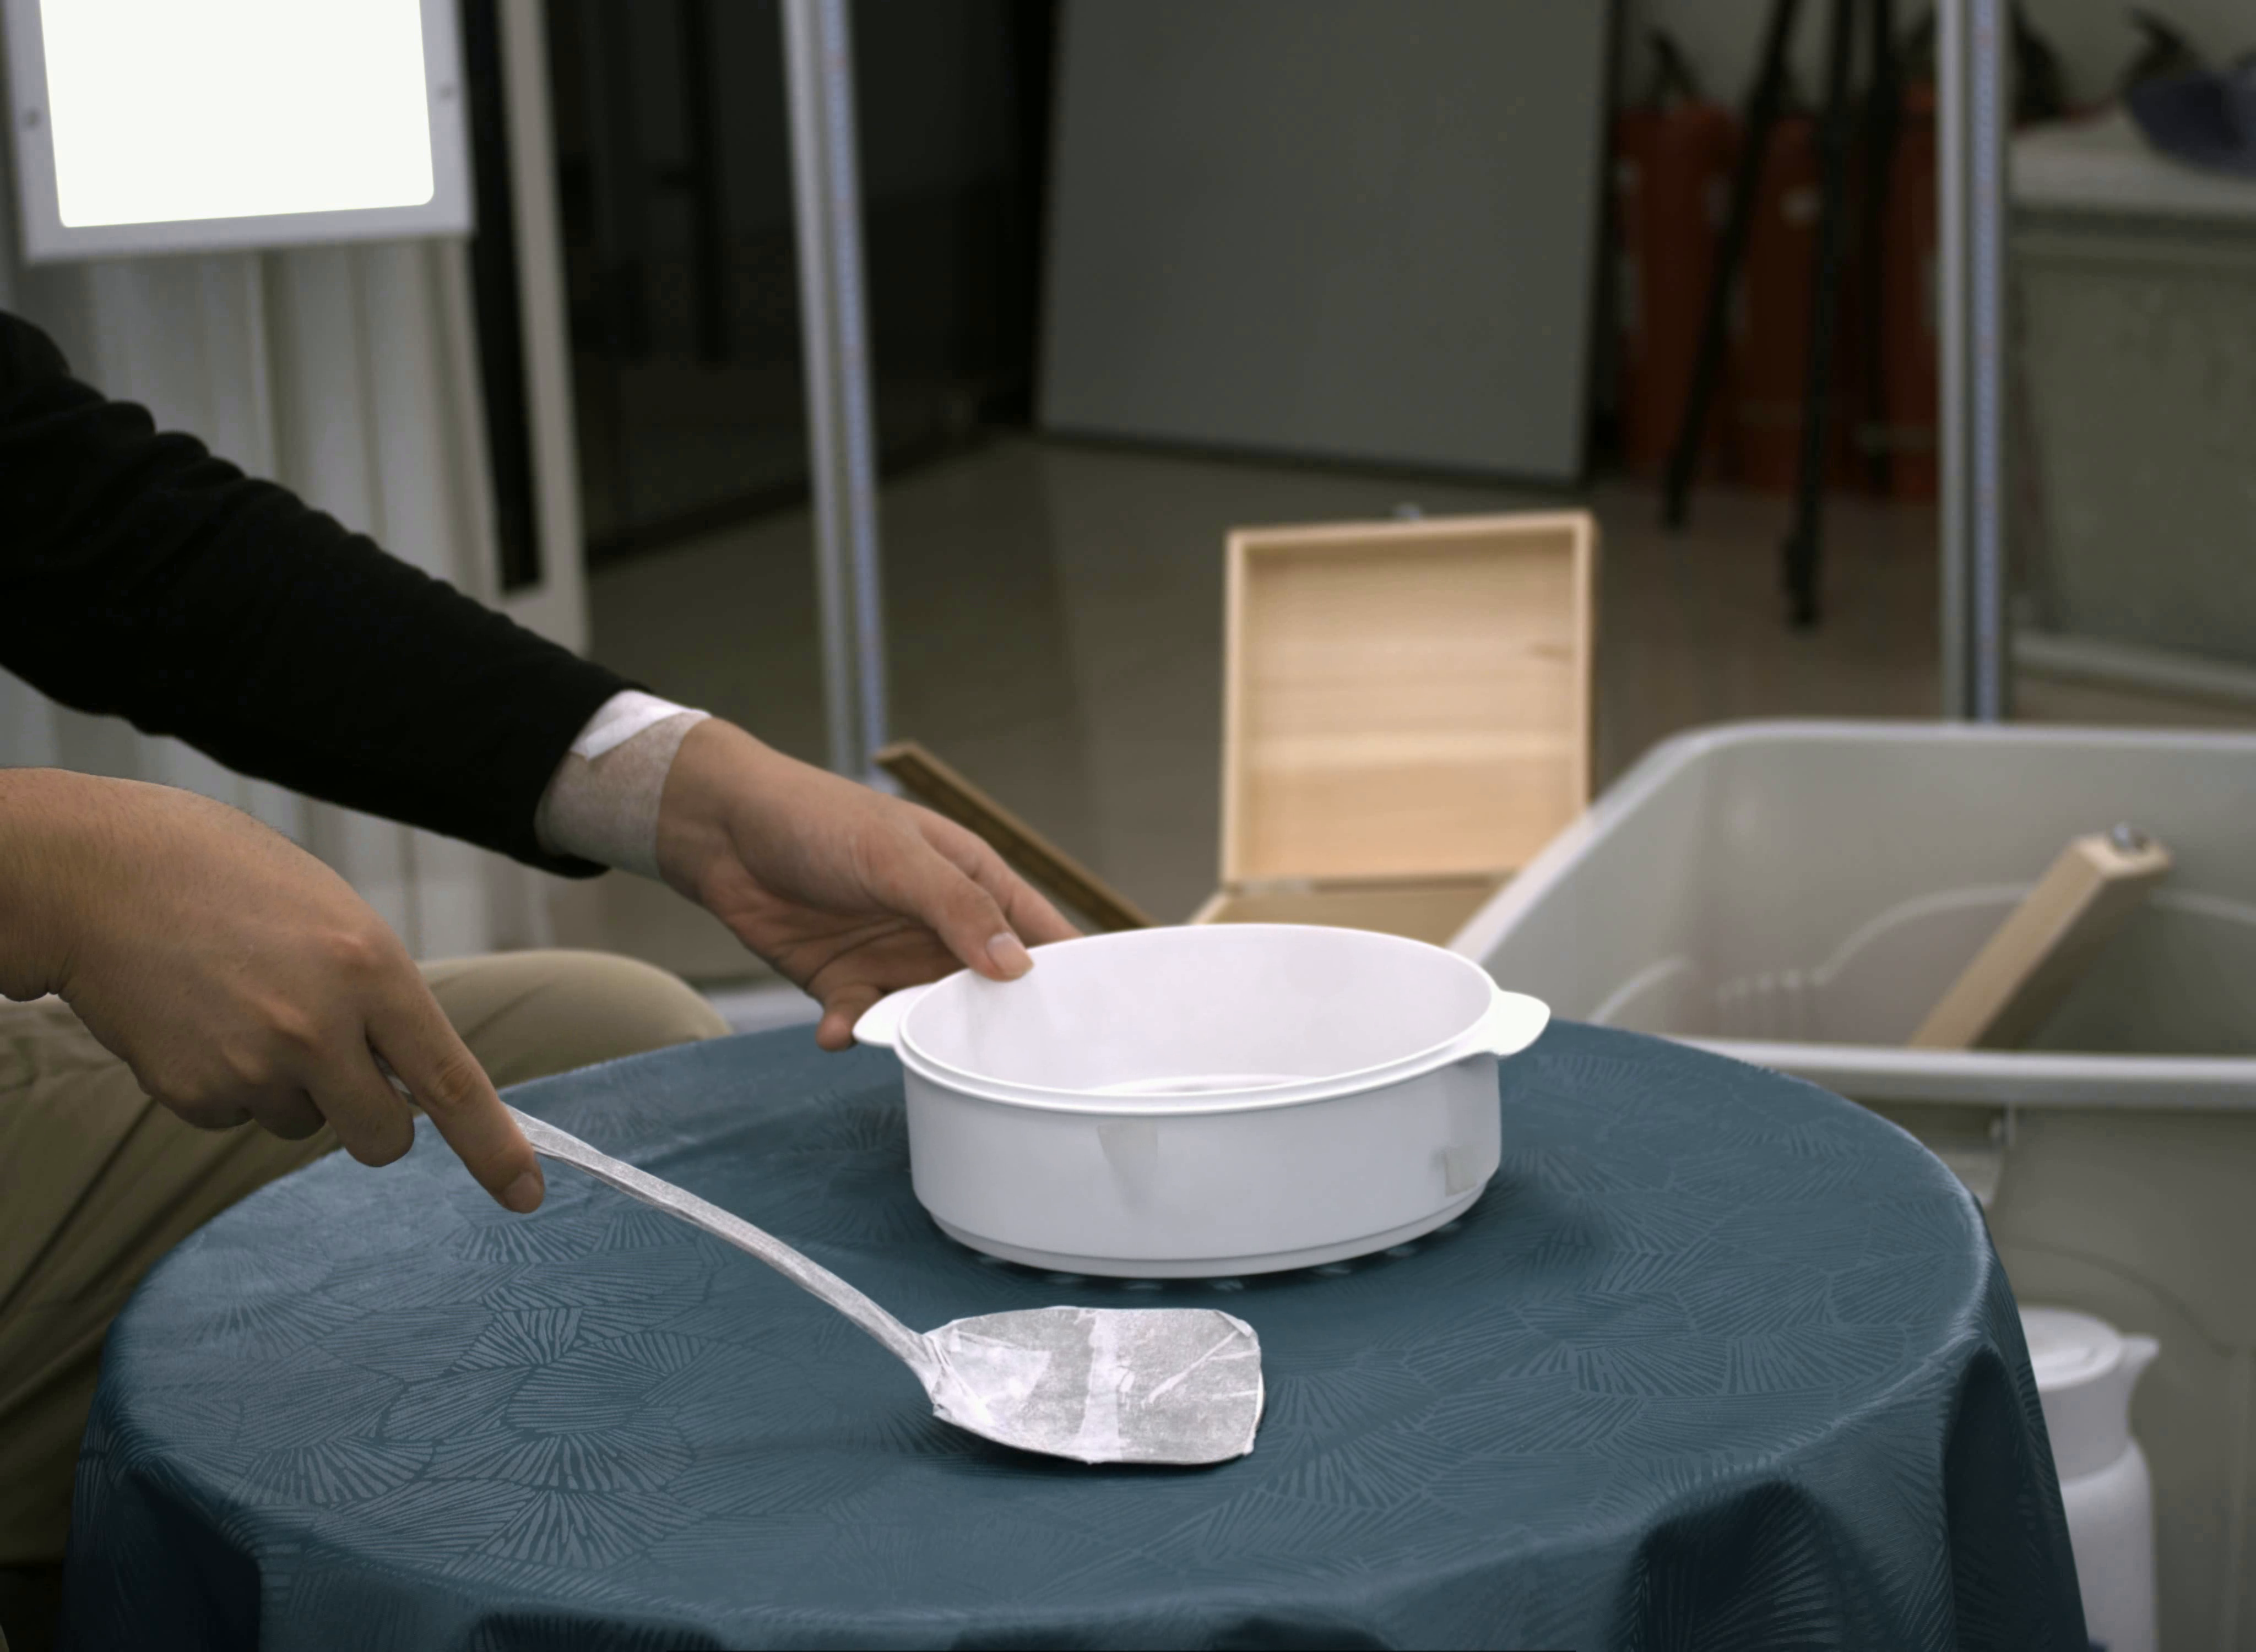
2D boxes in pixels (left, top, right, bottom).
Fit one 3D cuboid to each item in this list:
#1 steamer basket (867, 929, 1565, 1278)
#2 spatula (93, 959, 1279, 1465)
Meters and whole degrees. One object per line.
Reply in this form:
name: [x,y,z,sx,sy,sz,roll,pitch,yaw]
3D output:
steamer basket: [0.029,0.089,1.745,0.230,0.070,0.200,-1,13,17]
spatula: [-0.128,0.104,1.555,0.361,0.045,0.098,26,23,-3]
